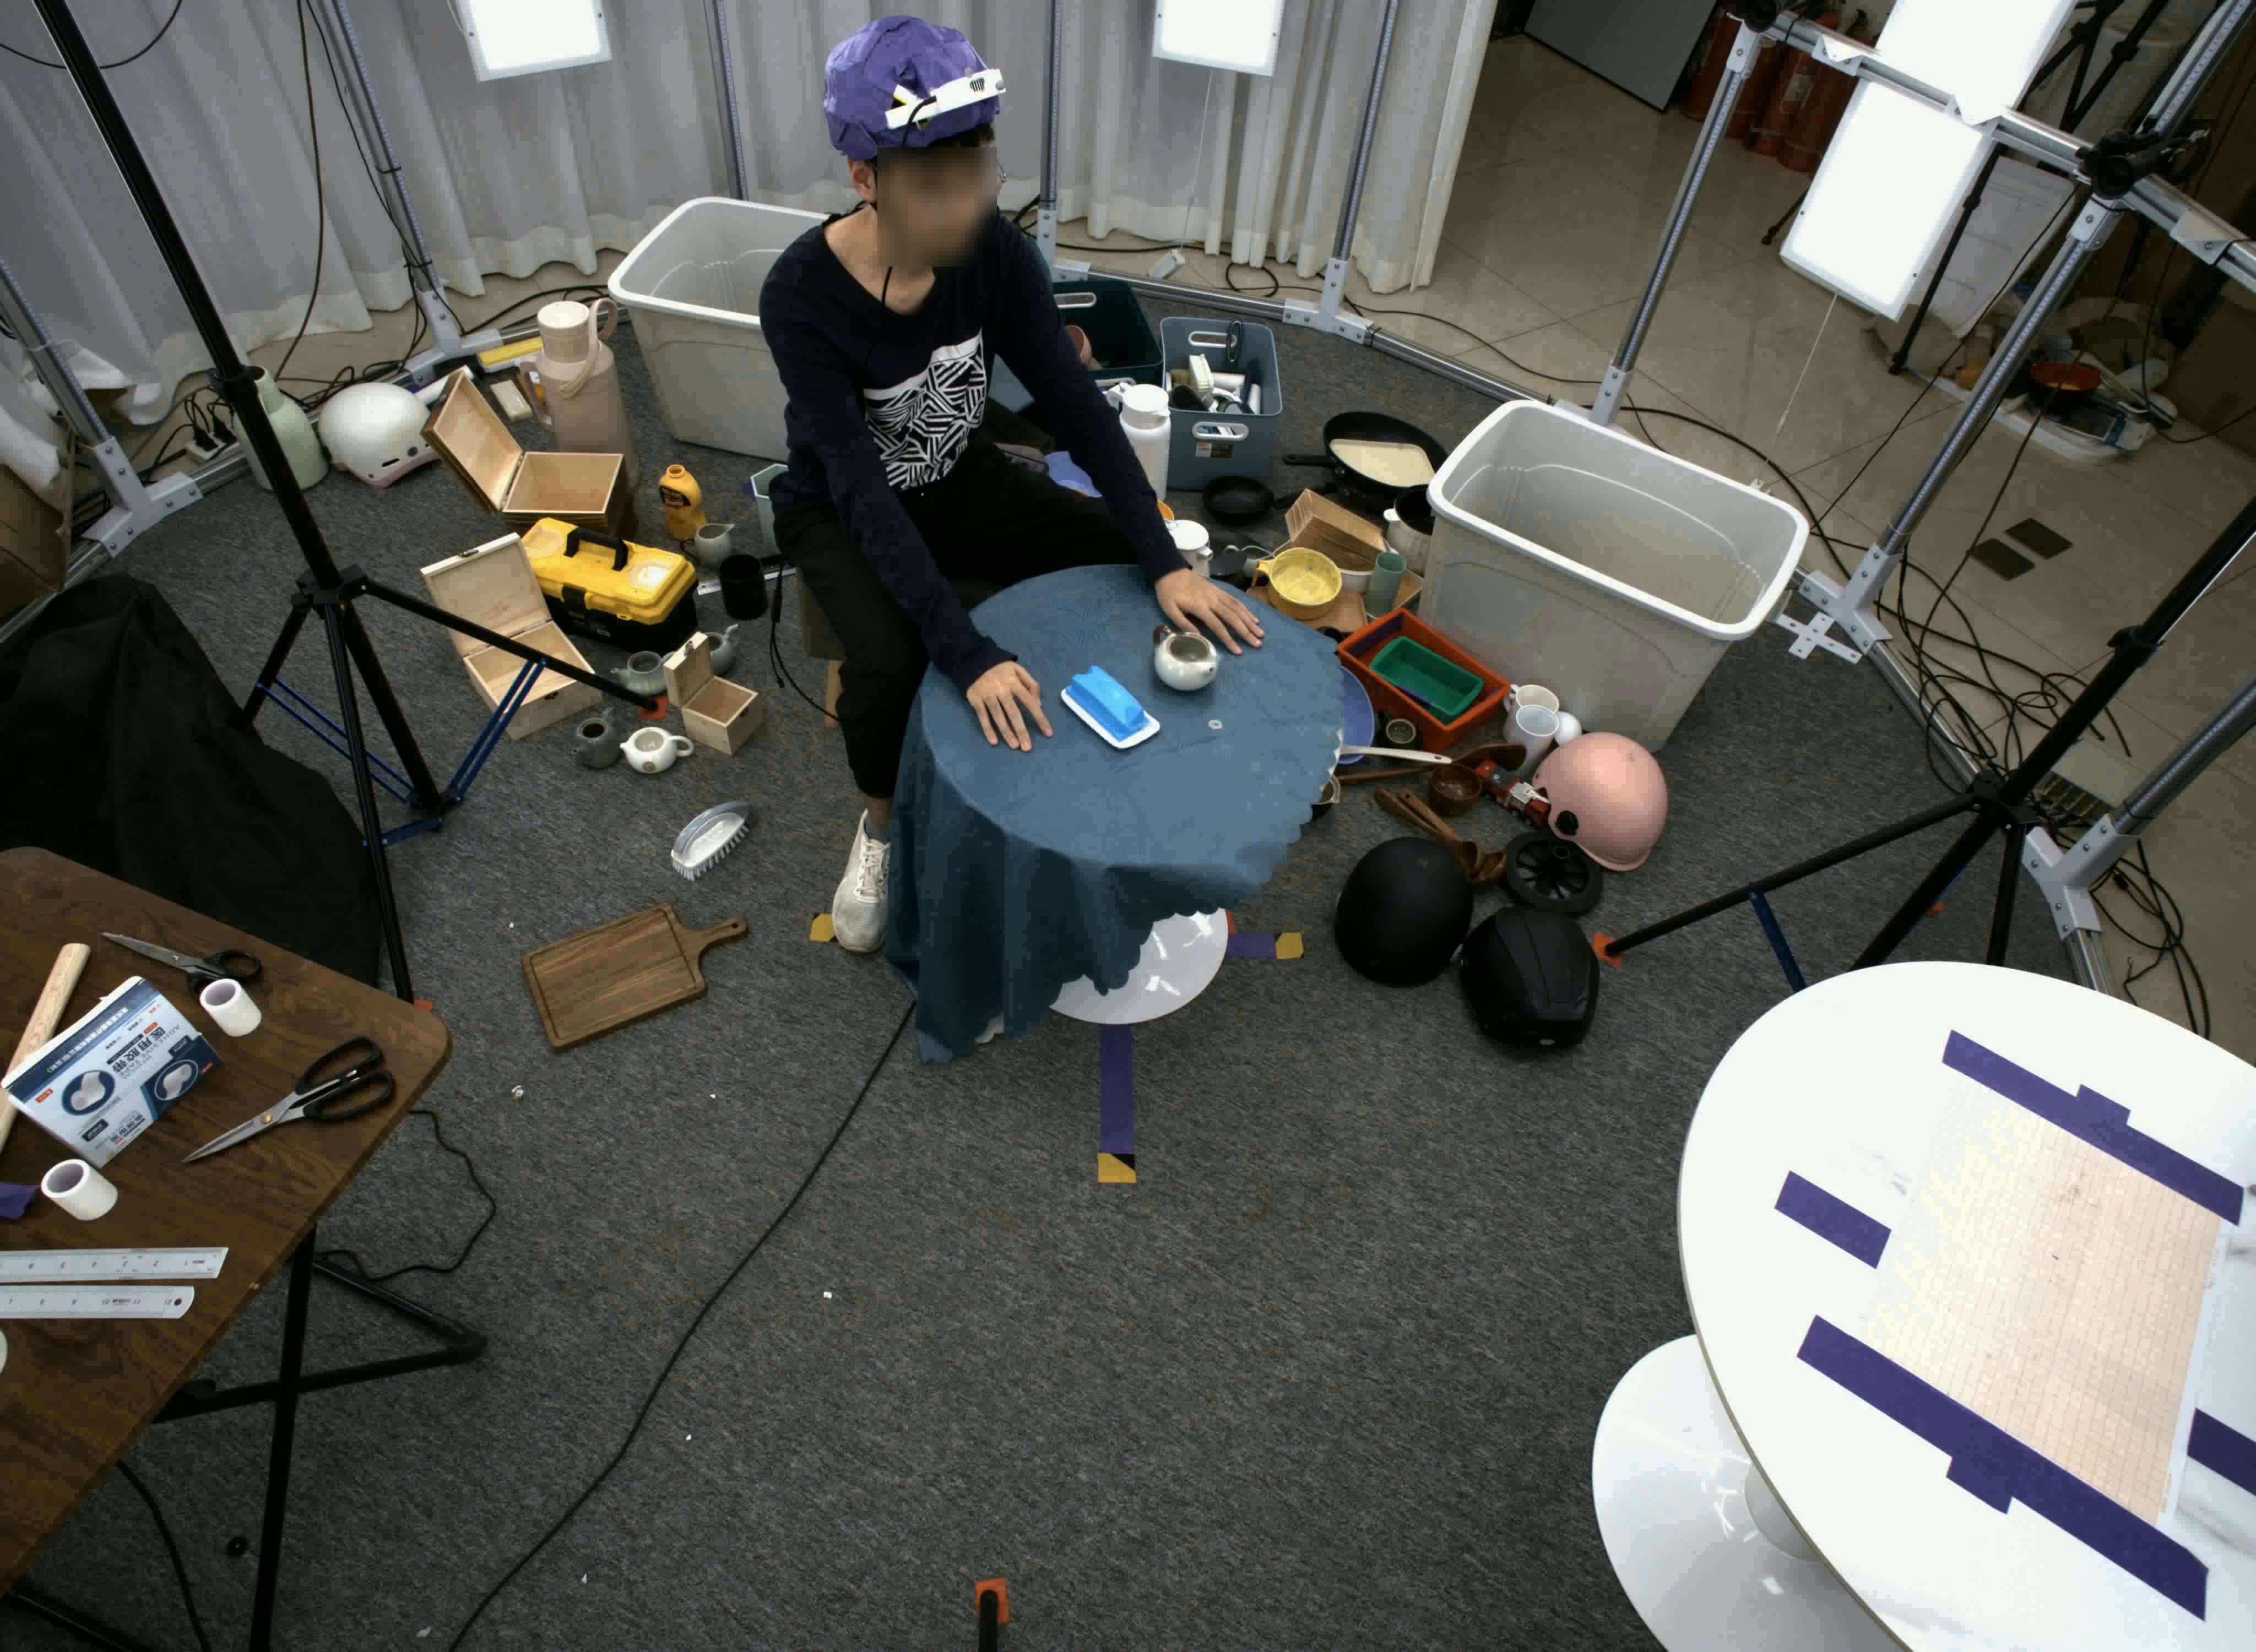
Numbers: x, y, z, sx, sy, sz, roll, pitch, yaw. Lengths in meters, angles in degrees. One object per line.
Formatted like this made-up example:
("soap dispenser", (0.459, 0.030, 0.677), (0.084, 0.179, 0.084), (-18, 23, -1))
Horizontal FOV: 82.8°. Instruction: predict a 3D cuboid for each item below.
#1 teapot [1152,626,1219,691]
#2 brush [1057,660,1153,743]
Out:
("teapot", (0.079, -0.241, 1.844), (0.092, 0.058, 0.130), (-33, 59, -25))
("brush", (-0.030, -0.179, 1.782), (0.084, 0.054, 0.146), (-26, 57, -28))
